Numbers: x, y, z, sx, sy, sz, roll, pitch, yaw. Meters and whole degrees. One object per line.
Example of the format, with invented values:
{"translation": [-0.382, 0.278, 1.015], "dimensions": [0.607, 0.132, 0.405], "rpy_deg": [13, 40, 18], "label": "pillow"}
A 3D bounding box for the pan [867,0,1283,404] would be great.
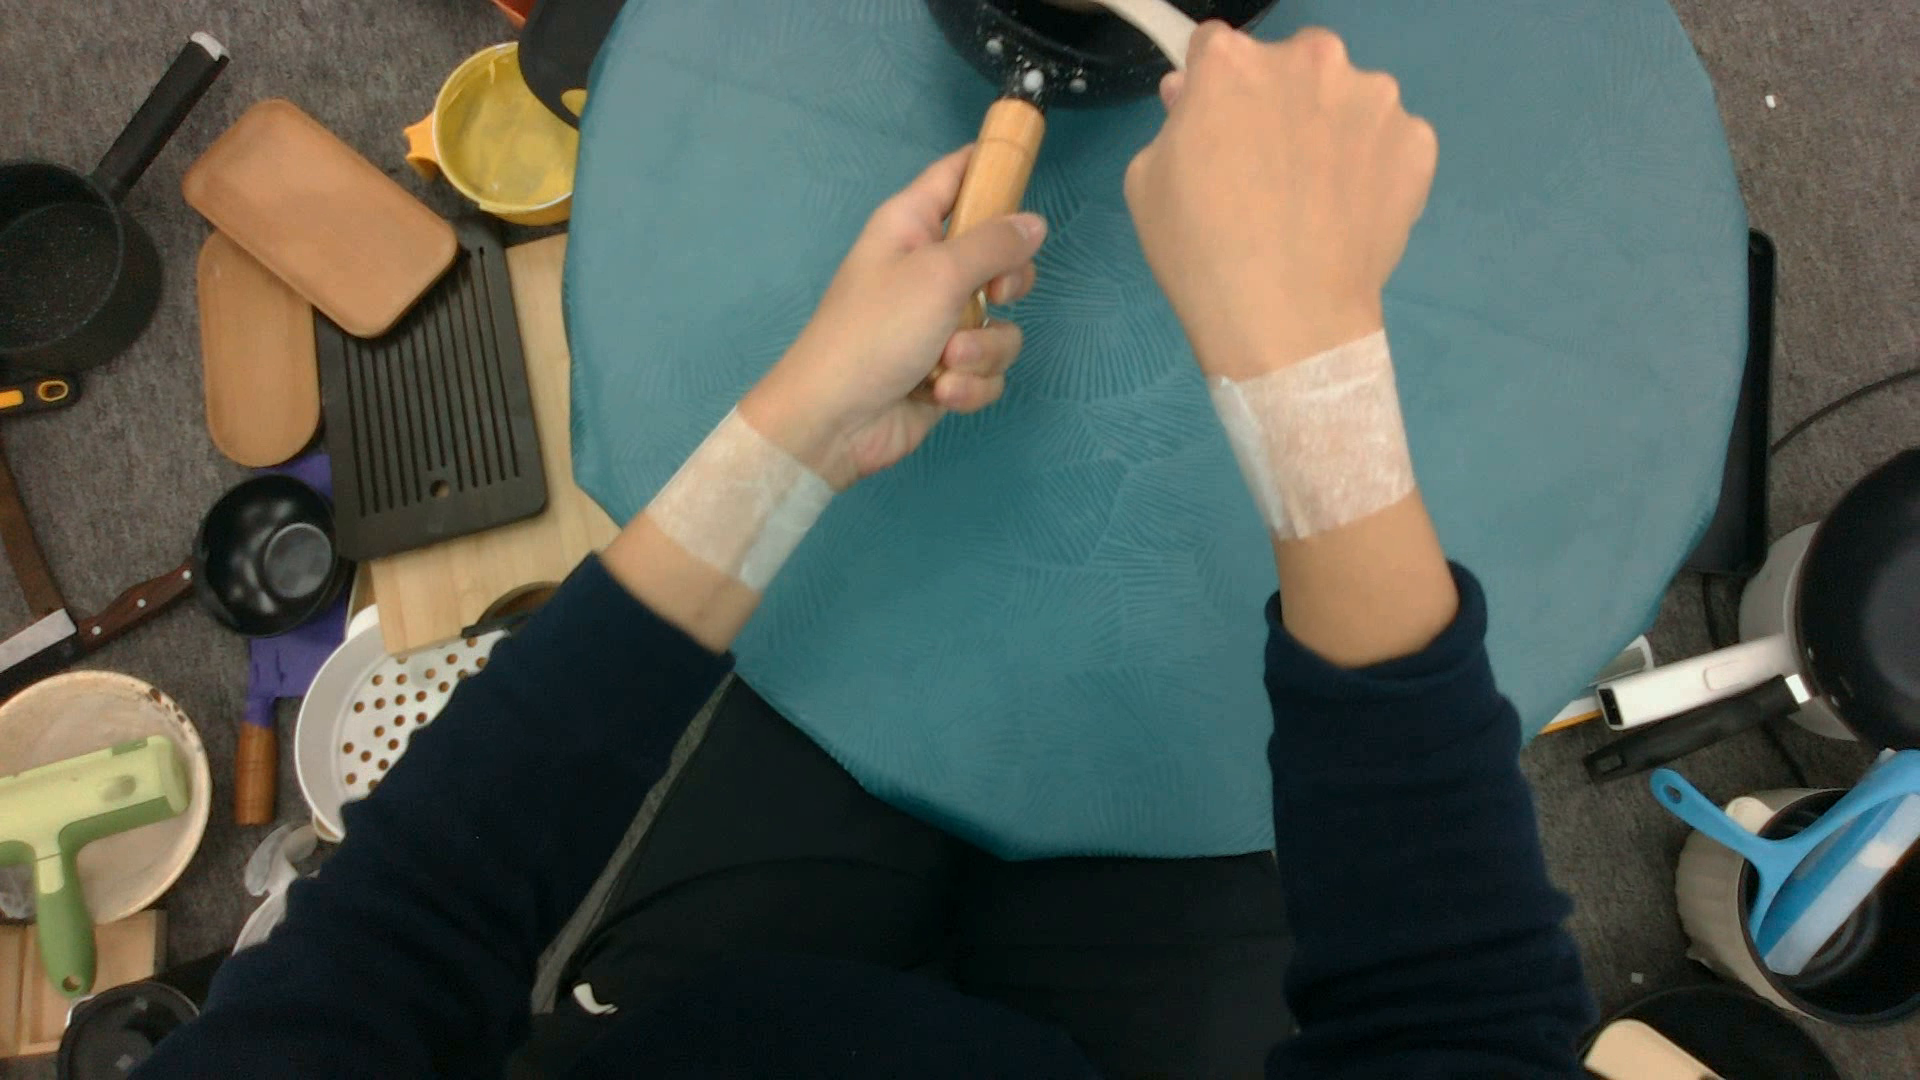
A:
{"translation": [0.022, -0.208, 0.602], "dimensions": [0.207, 0.108, 0.343], "rpy_deg": [19, 79, -9], "label": "pan"}

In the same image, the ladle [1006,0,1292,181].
{"translation": [0.072, -0.221, 0.549], "dimensions": [0.089, 0.275, 0.069], "rpy_deg": [-7, 124, -12], "label": "ladle"}
